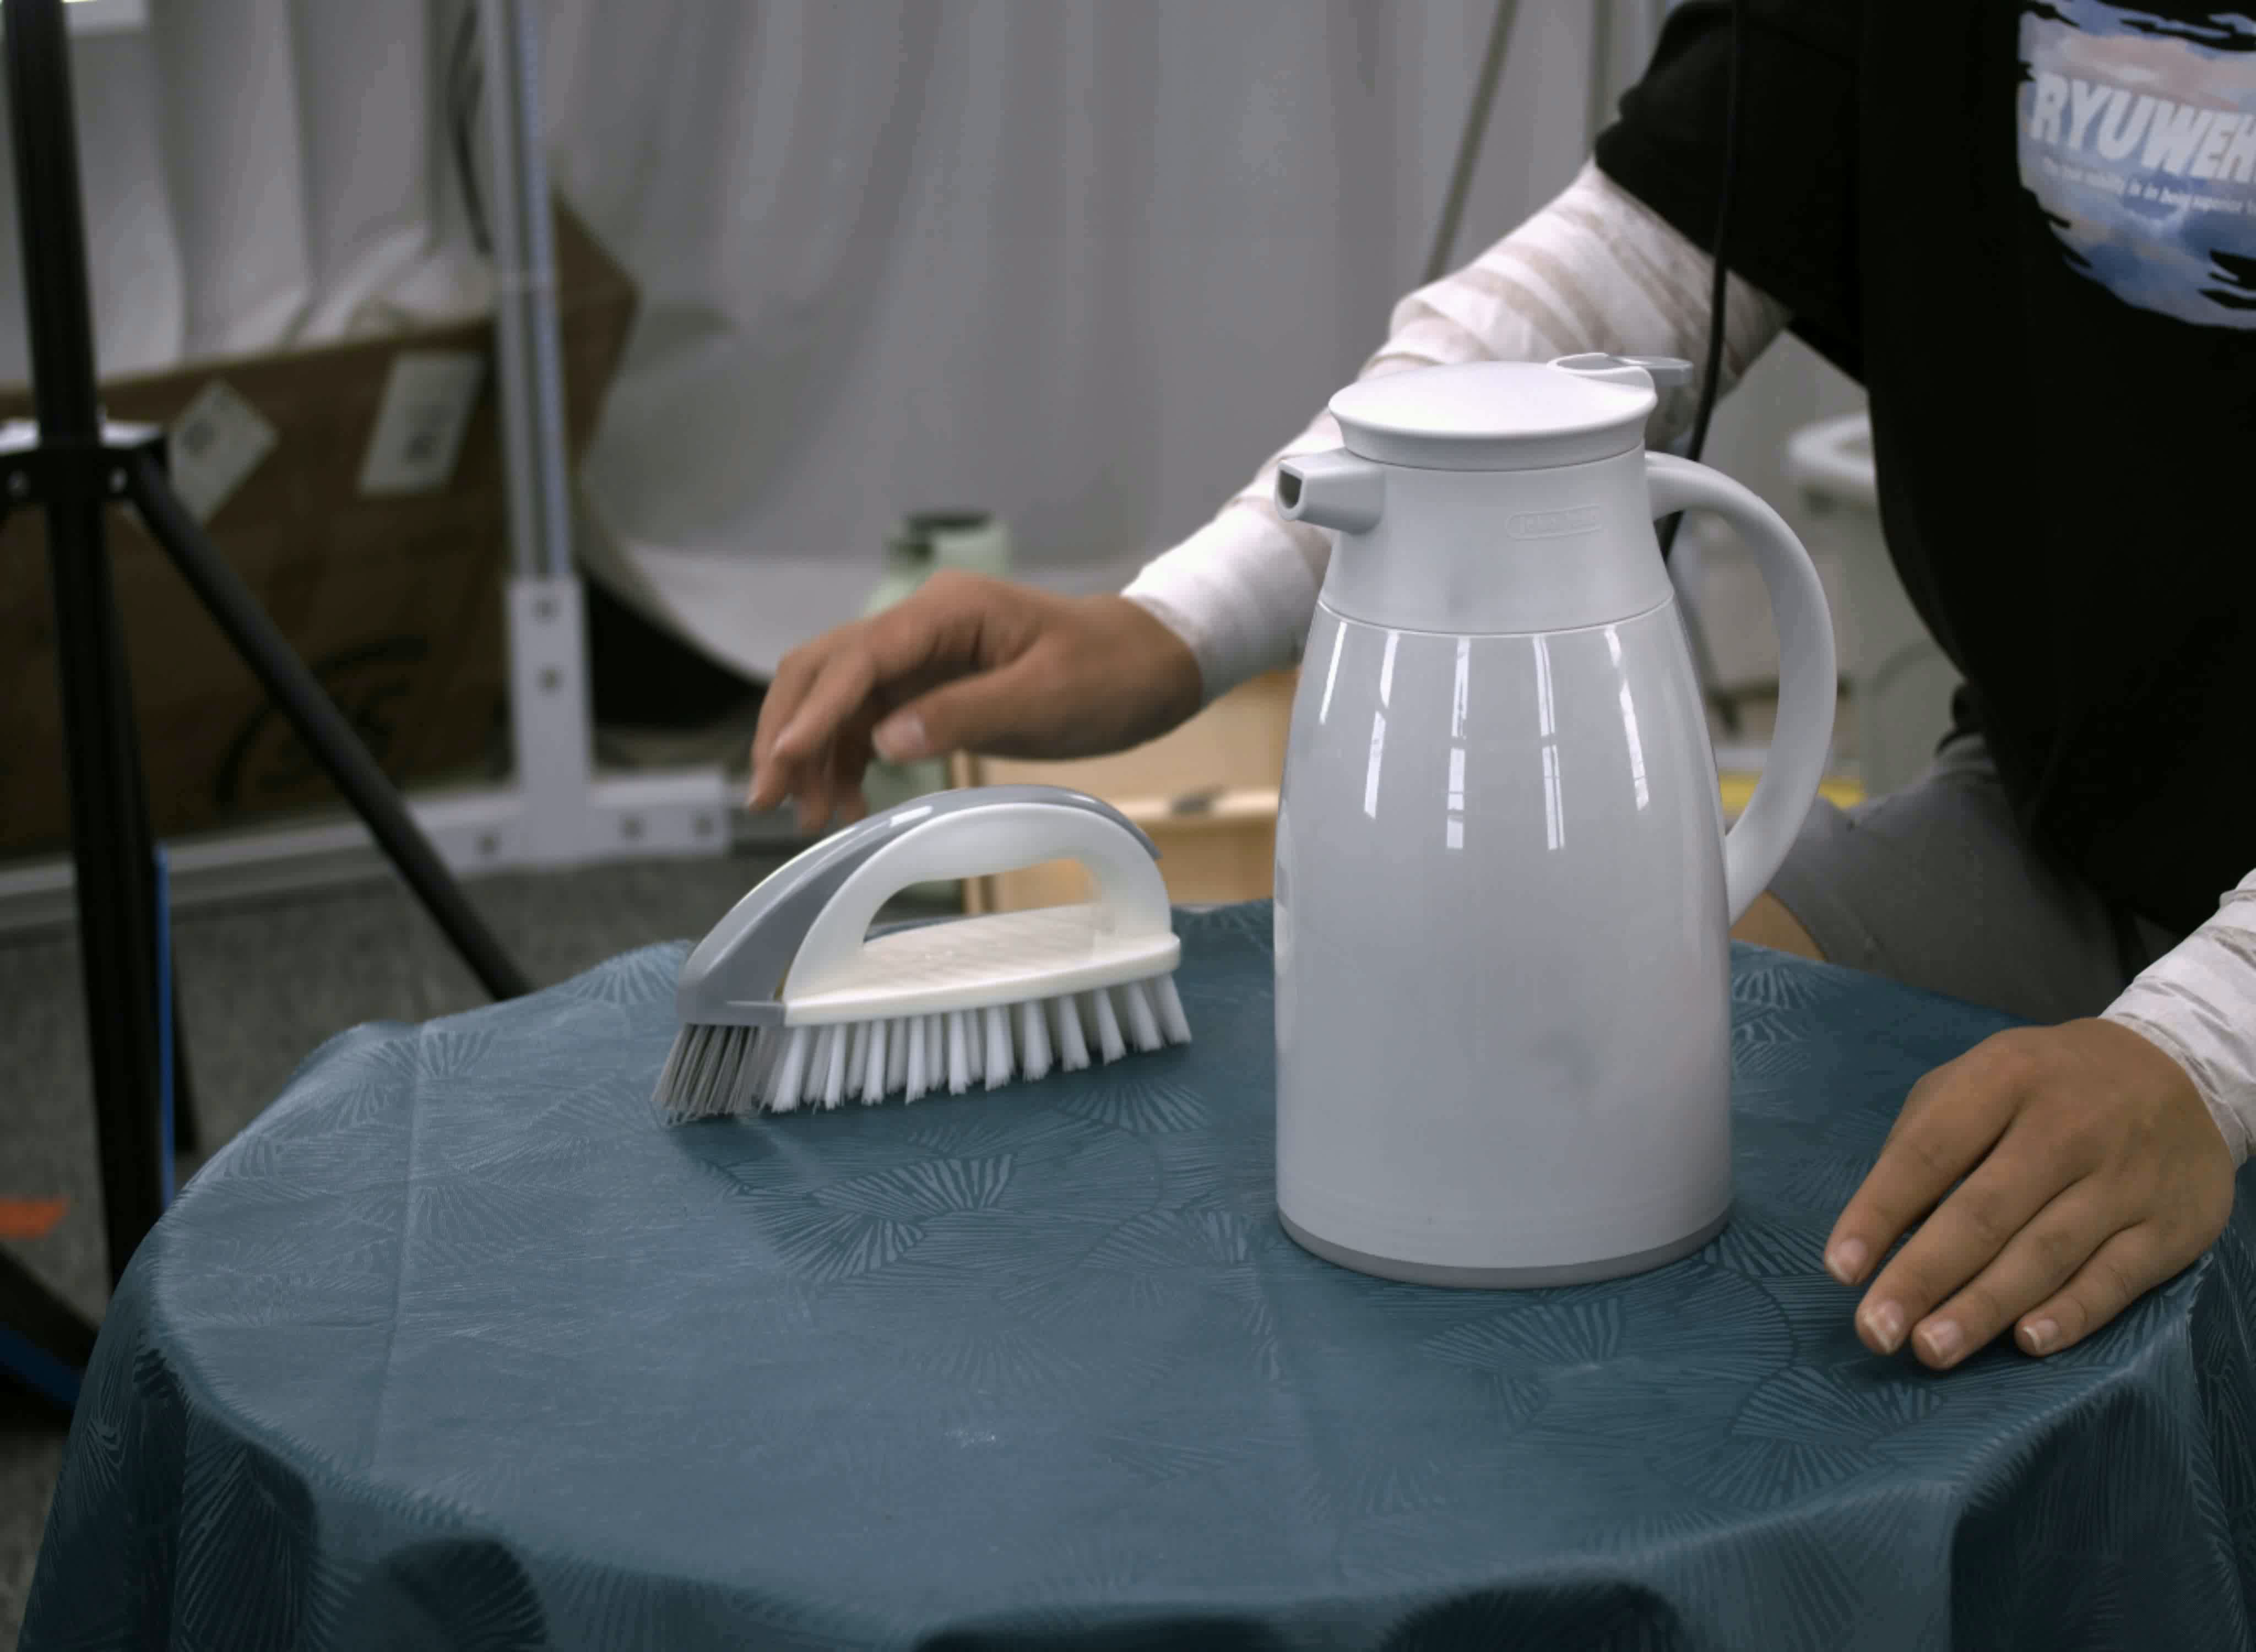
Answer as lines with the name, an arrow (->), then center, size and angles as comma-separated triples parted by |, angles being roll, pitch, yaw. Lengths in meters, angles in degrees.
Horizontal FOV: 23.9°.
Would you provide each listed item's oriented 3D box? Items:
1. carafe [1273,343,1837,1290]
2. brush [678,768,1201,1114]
carafe -> 0.123, -0.010, 1.506 | 0.164, 0.249, 0.135 | -7, 15, -20
brush -> -0.064, 0.034, 1.661 | 0.172, 0.094, 0.062 | -11, 15, -24
